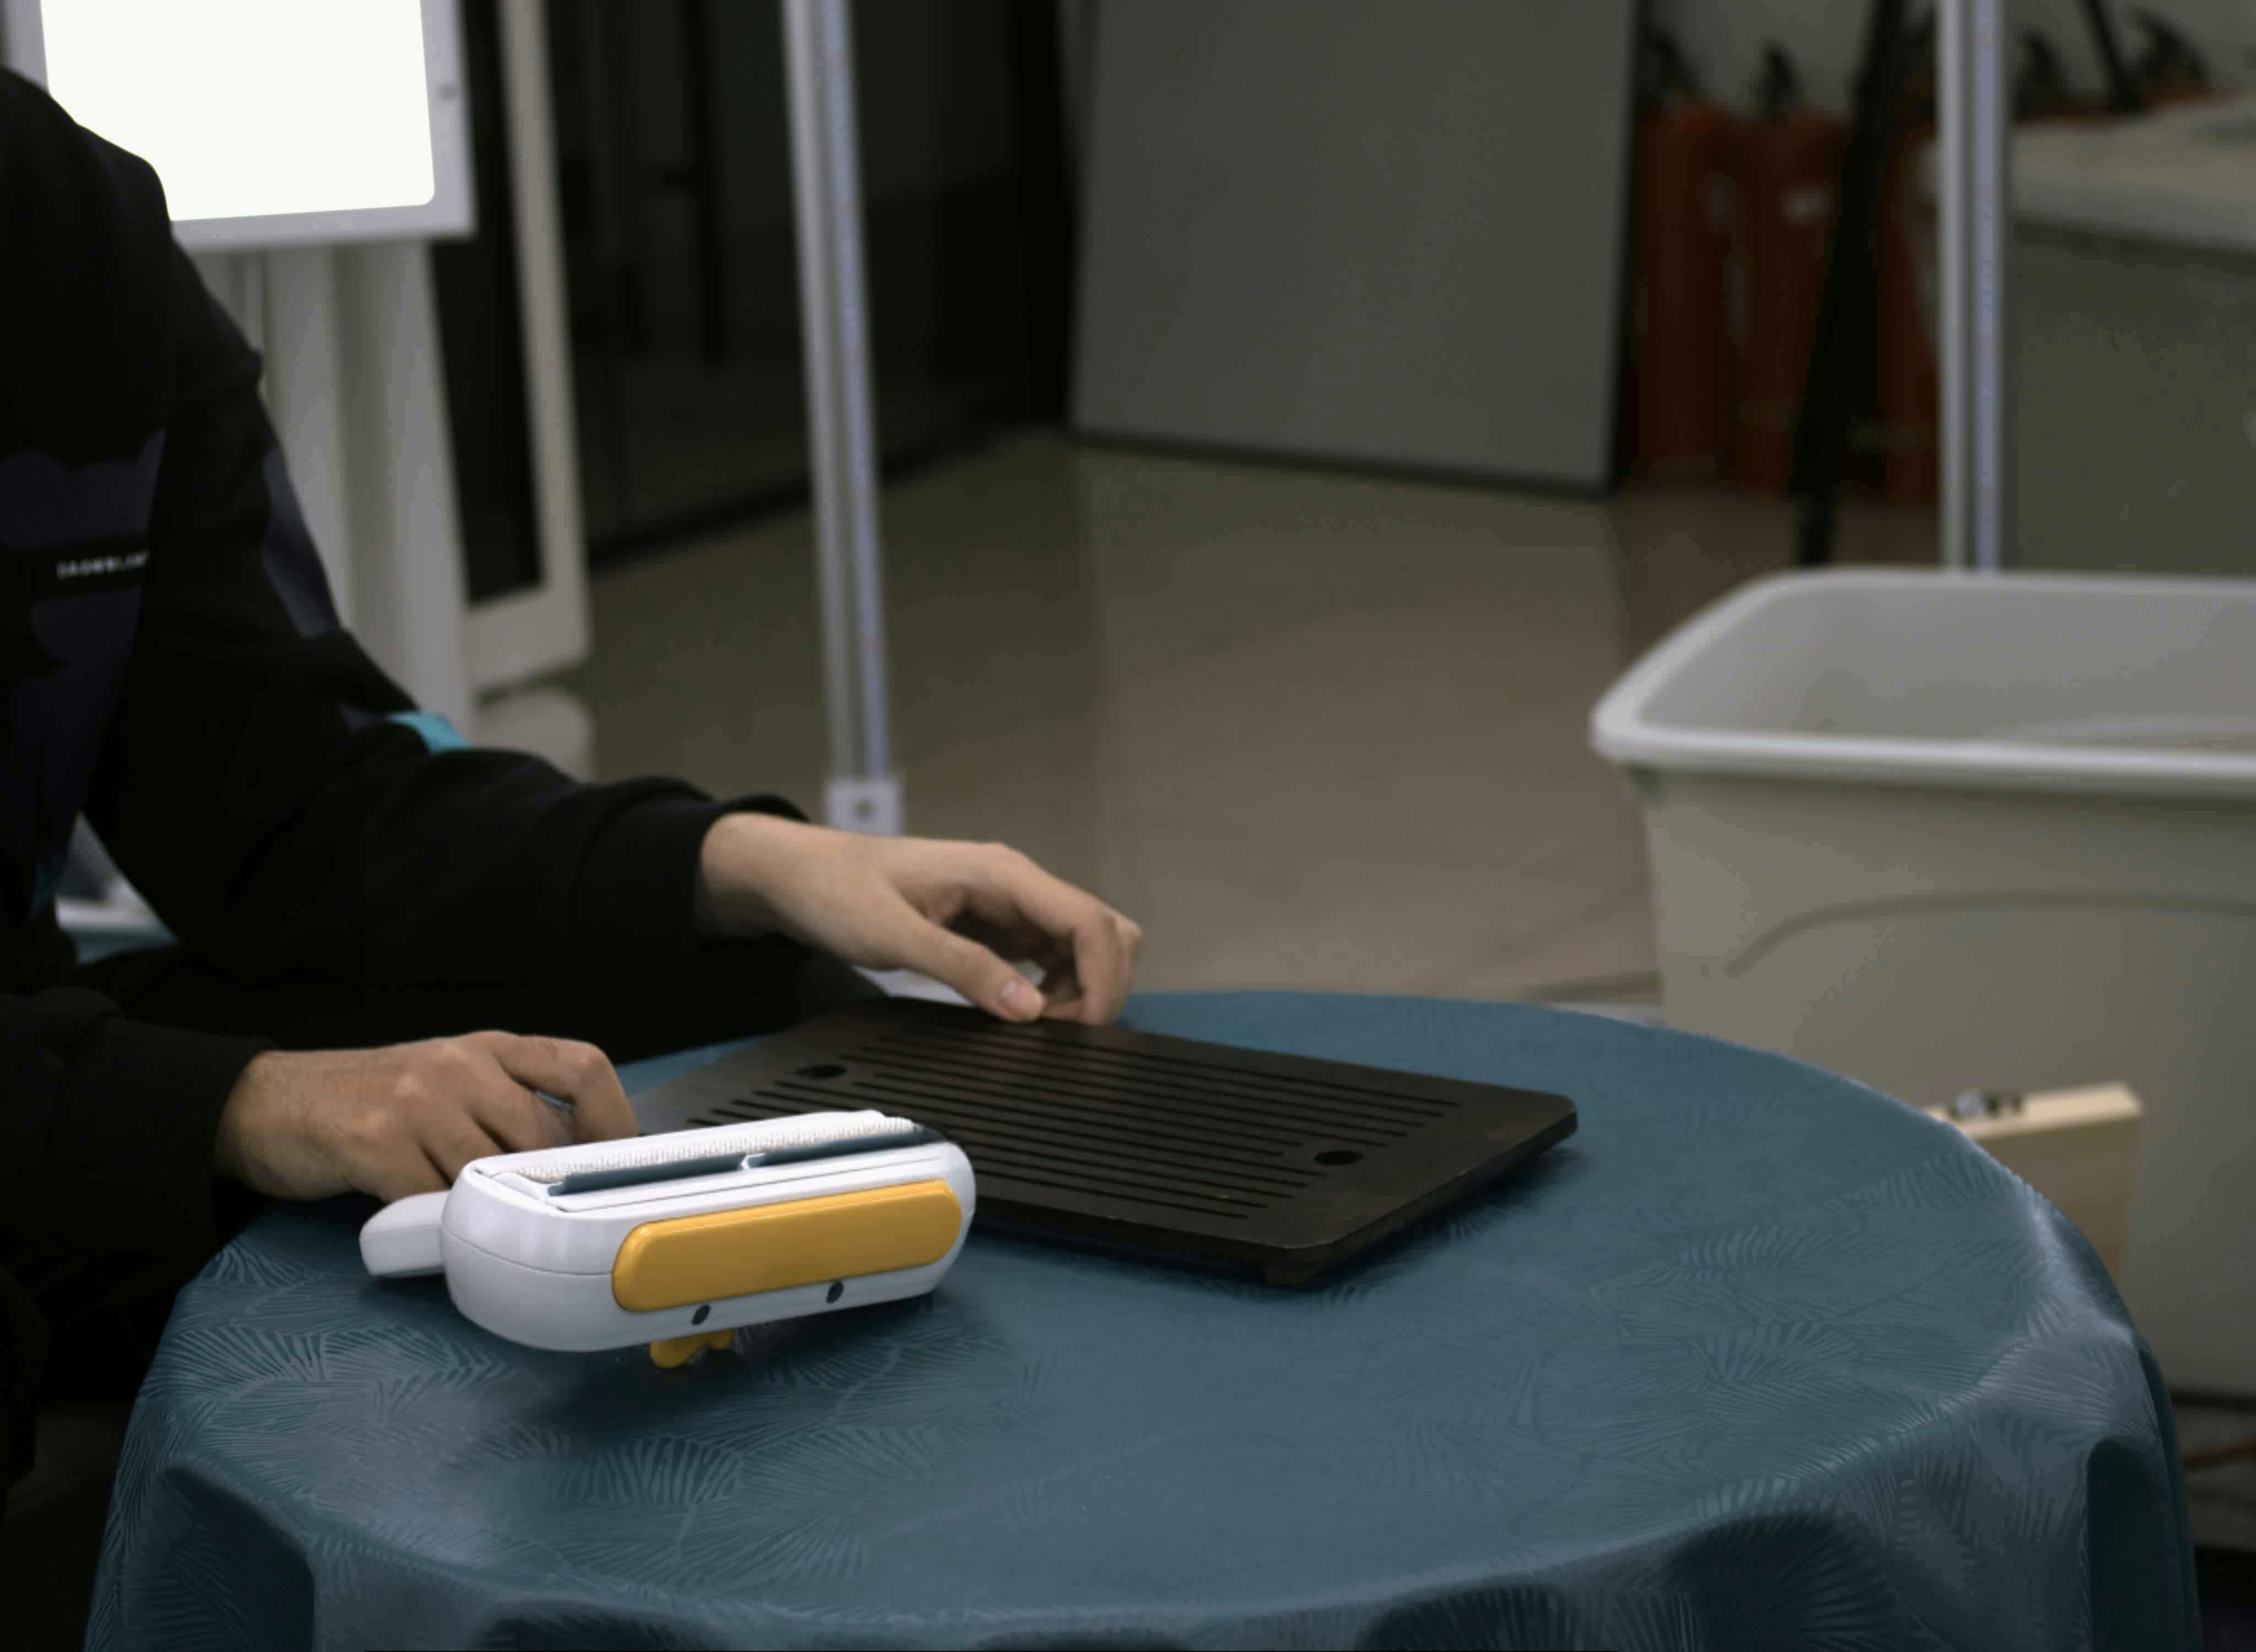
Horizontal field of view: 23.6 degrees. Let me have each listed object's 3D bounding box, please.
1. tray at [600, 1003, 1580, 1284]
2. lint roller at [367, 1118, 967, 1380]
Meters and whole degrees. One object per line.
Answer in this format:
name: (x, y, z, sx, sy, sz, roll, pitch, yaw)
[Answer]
tray: (-0.014, 0.104, 1.809, 0.308, 0.019, 0.167, 6, 17, 37)
lint roller: (-0.170, 0.123, 1.672, 0.188, 0.075, 0.194, -10, 12, -43)
